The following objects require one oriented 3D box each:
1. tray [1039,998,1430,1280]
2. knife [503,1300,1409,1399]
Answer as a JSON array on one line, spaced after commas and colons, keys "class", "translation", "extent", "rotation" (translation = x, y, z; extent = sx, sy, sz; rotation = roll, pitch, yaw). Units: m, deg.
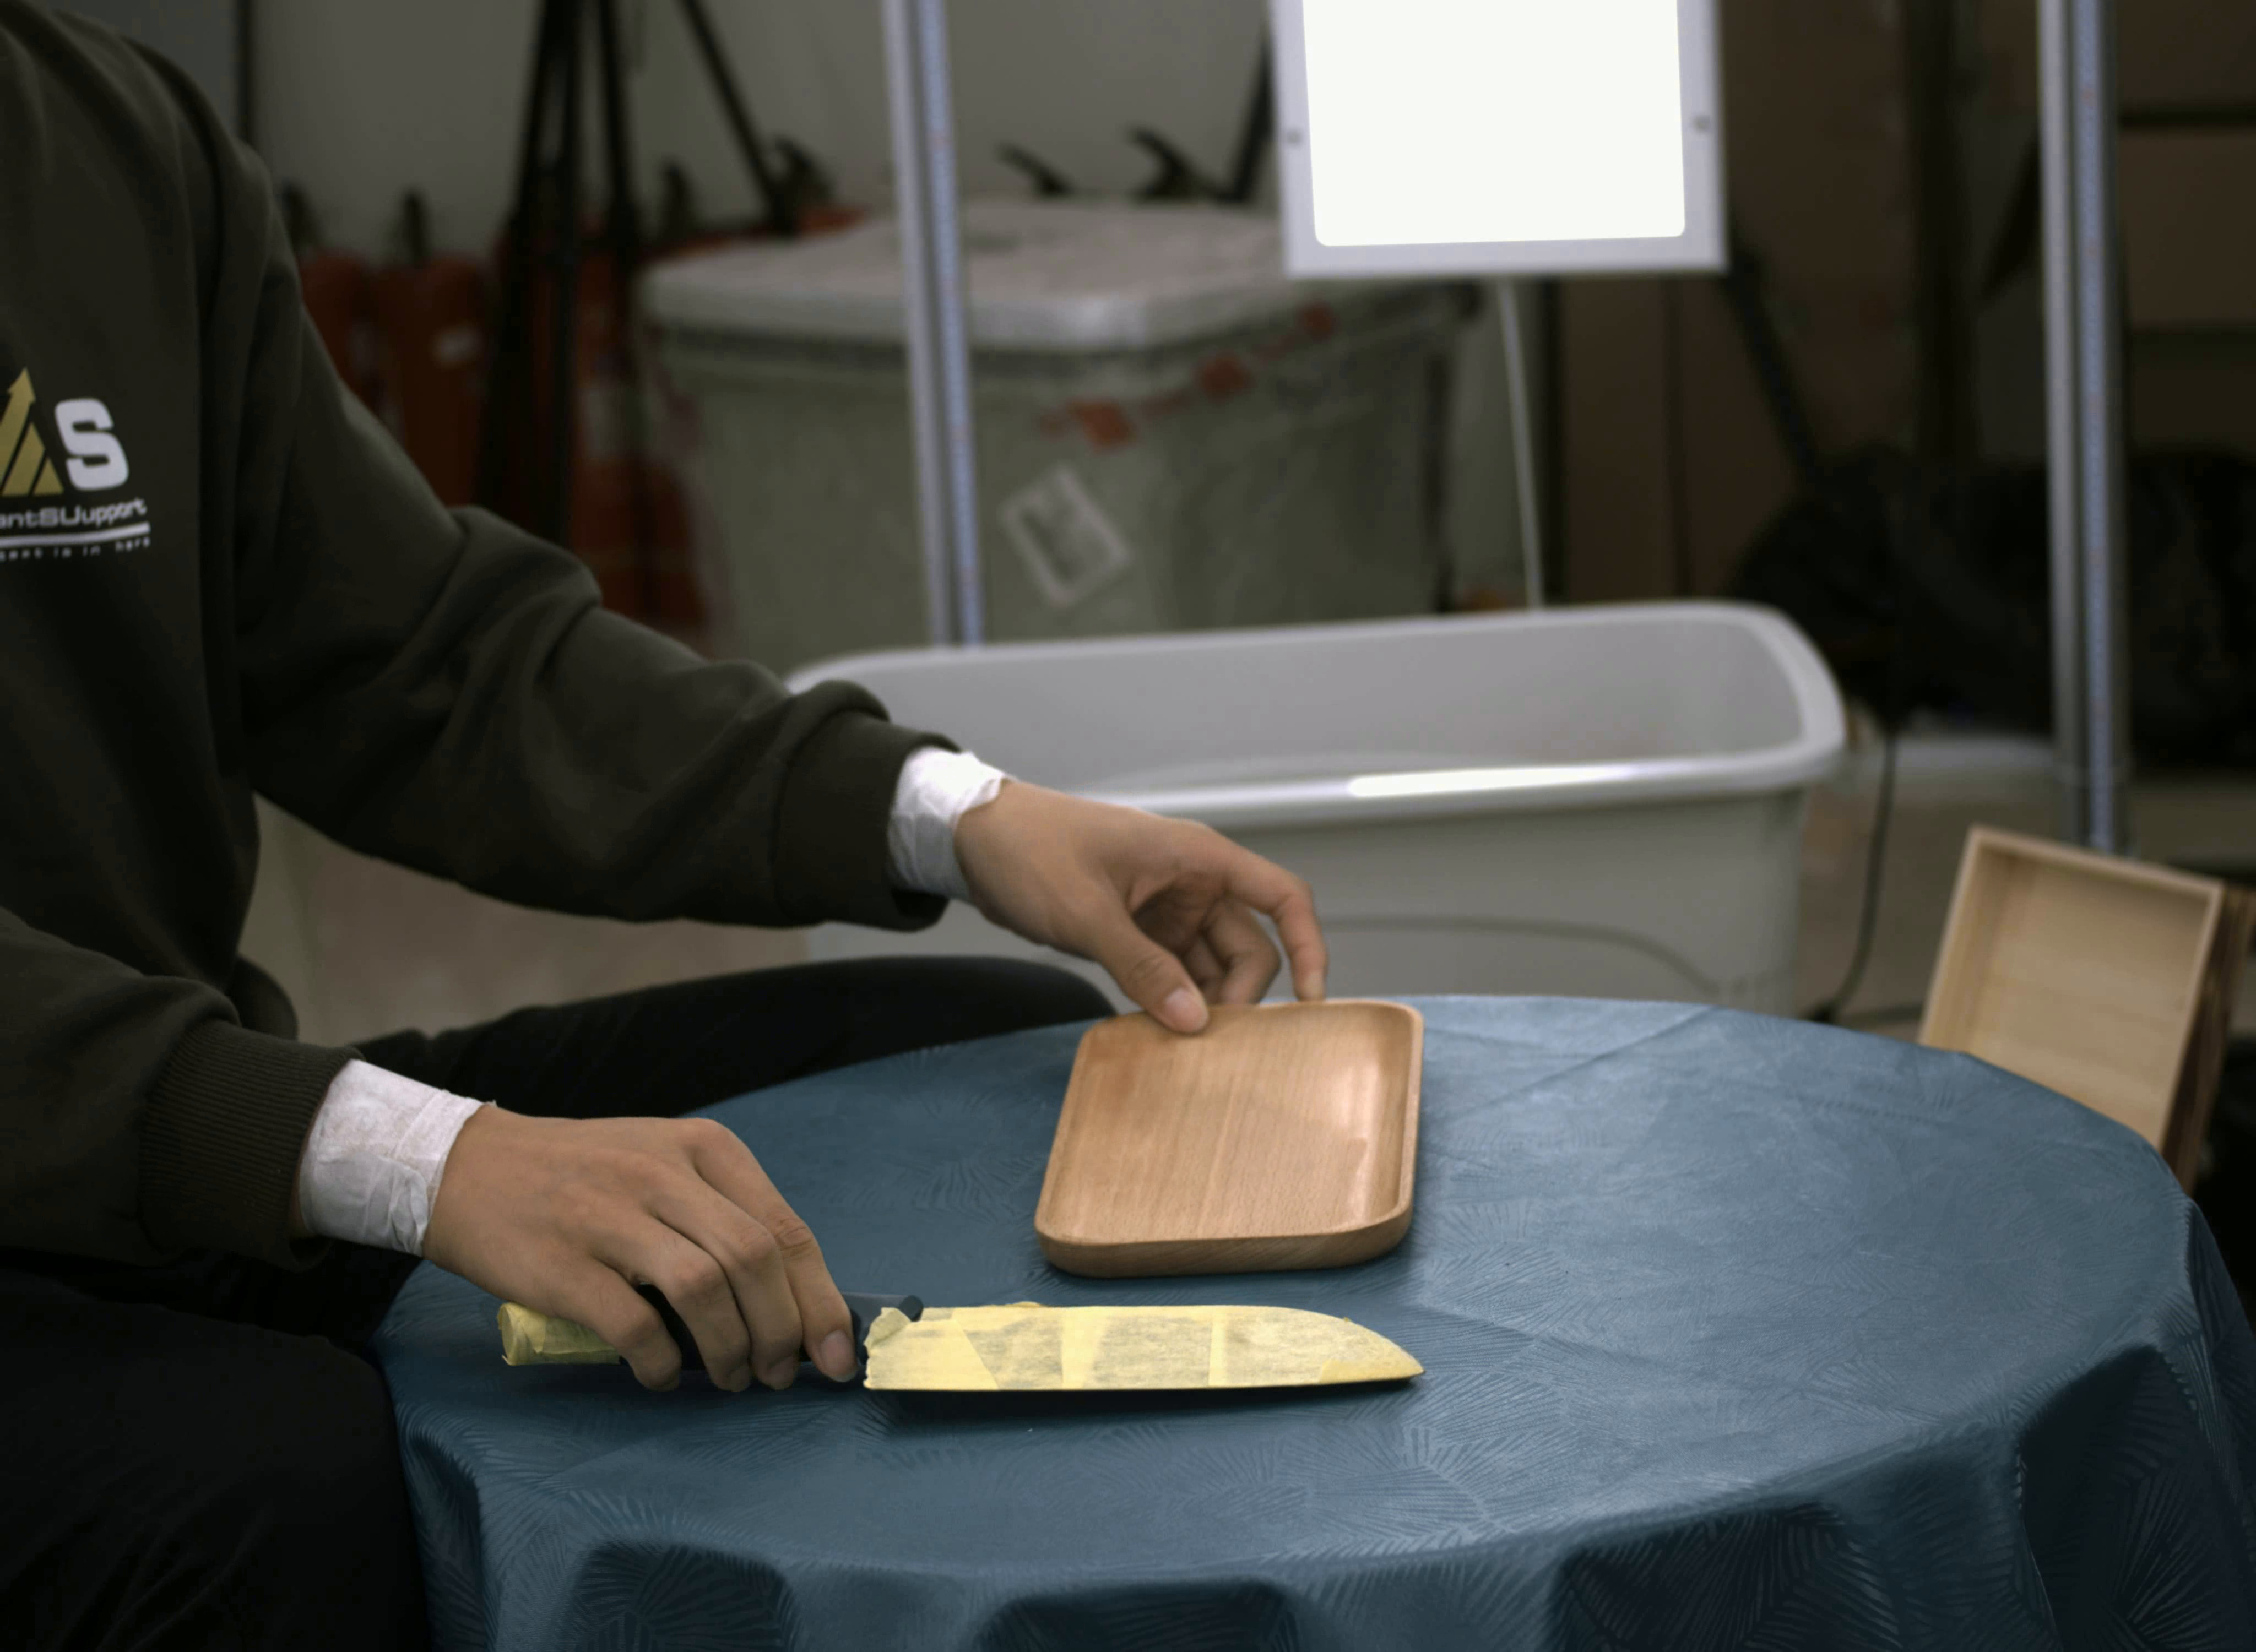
[{"class": "tray", "translation": [0.041, 0.107, 1.917], "extent": [0.131, 0.023, 0.249], "rotation": [-6, 17, 7]}, {"class": "knife", "translation": [-0.056, 0.164, 1.720], "extent": [0.290, 0.027, 0.080], "rotation": [-2, 13, 8]}]
